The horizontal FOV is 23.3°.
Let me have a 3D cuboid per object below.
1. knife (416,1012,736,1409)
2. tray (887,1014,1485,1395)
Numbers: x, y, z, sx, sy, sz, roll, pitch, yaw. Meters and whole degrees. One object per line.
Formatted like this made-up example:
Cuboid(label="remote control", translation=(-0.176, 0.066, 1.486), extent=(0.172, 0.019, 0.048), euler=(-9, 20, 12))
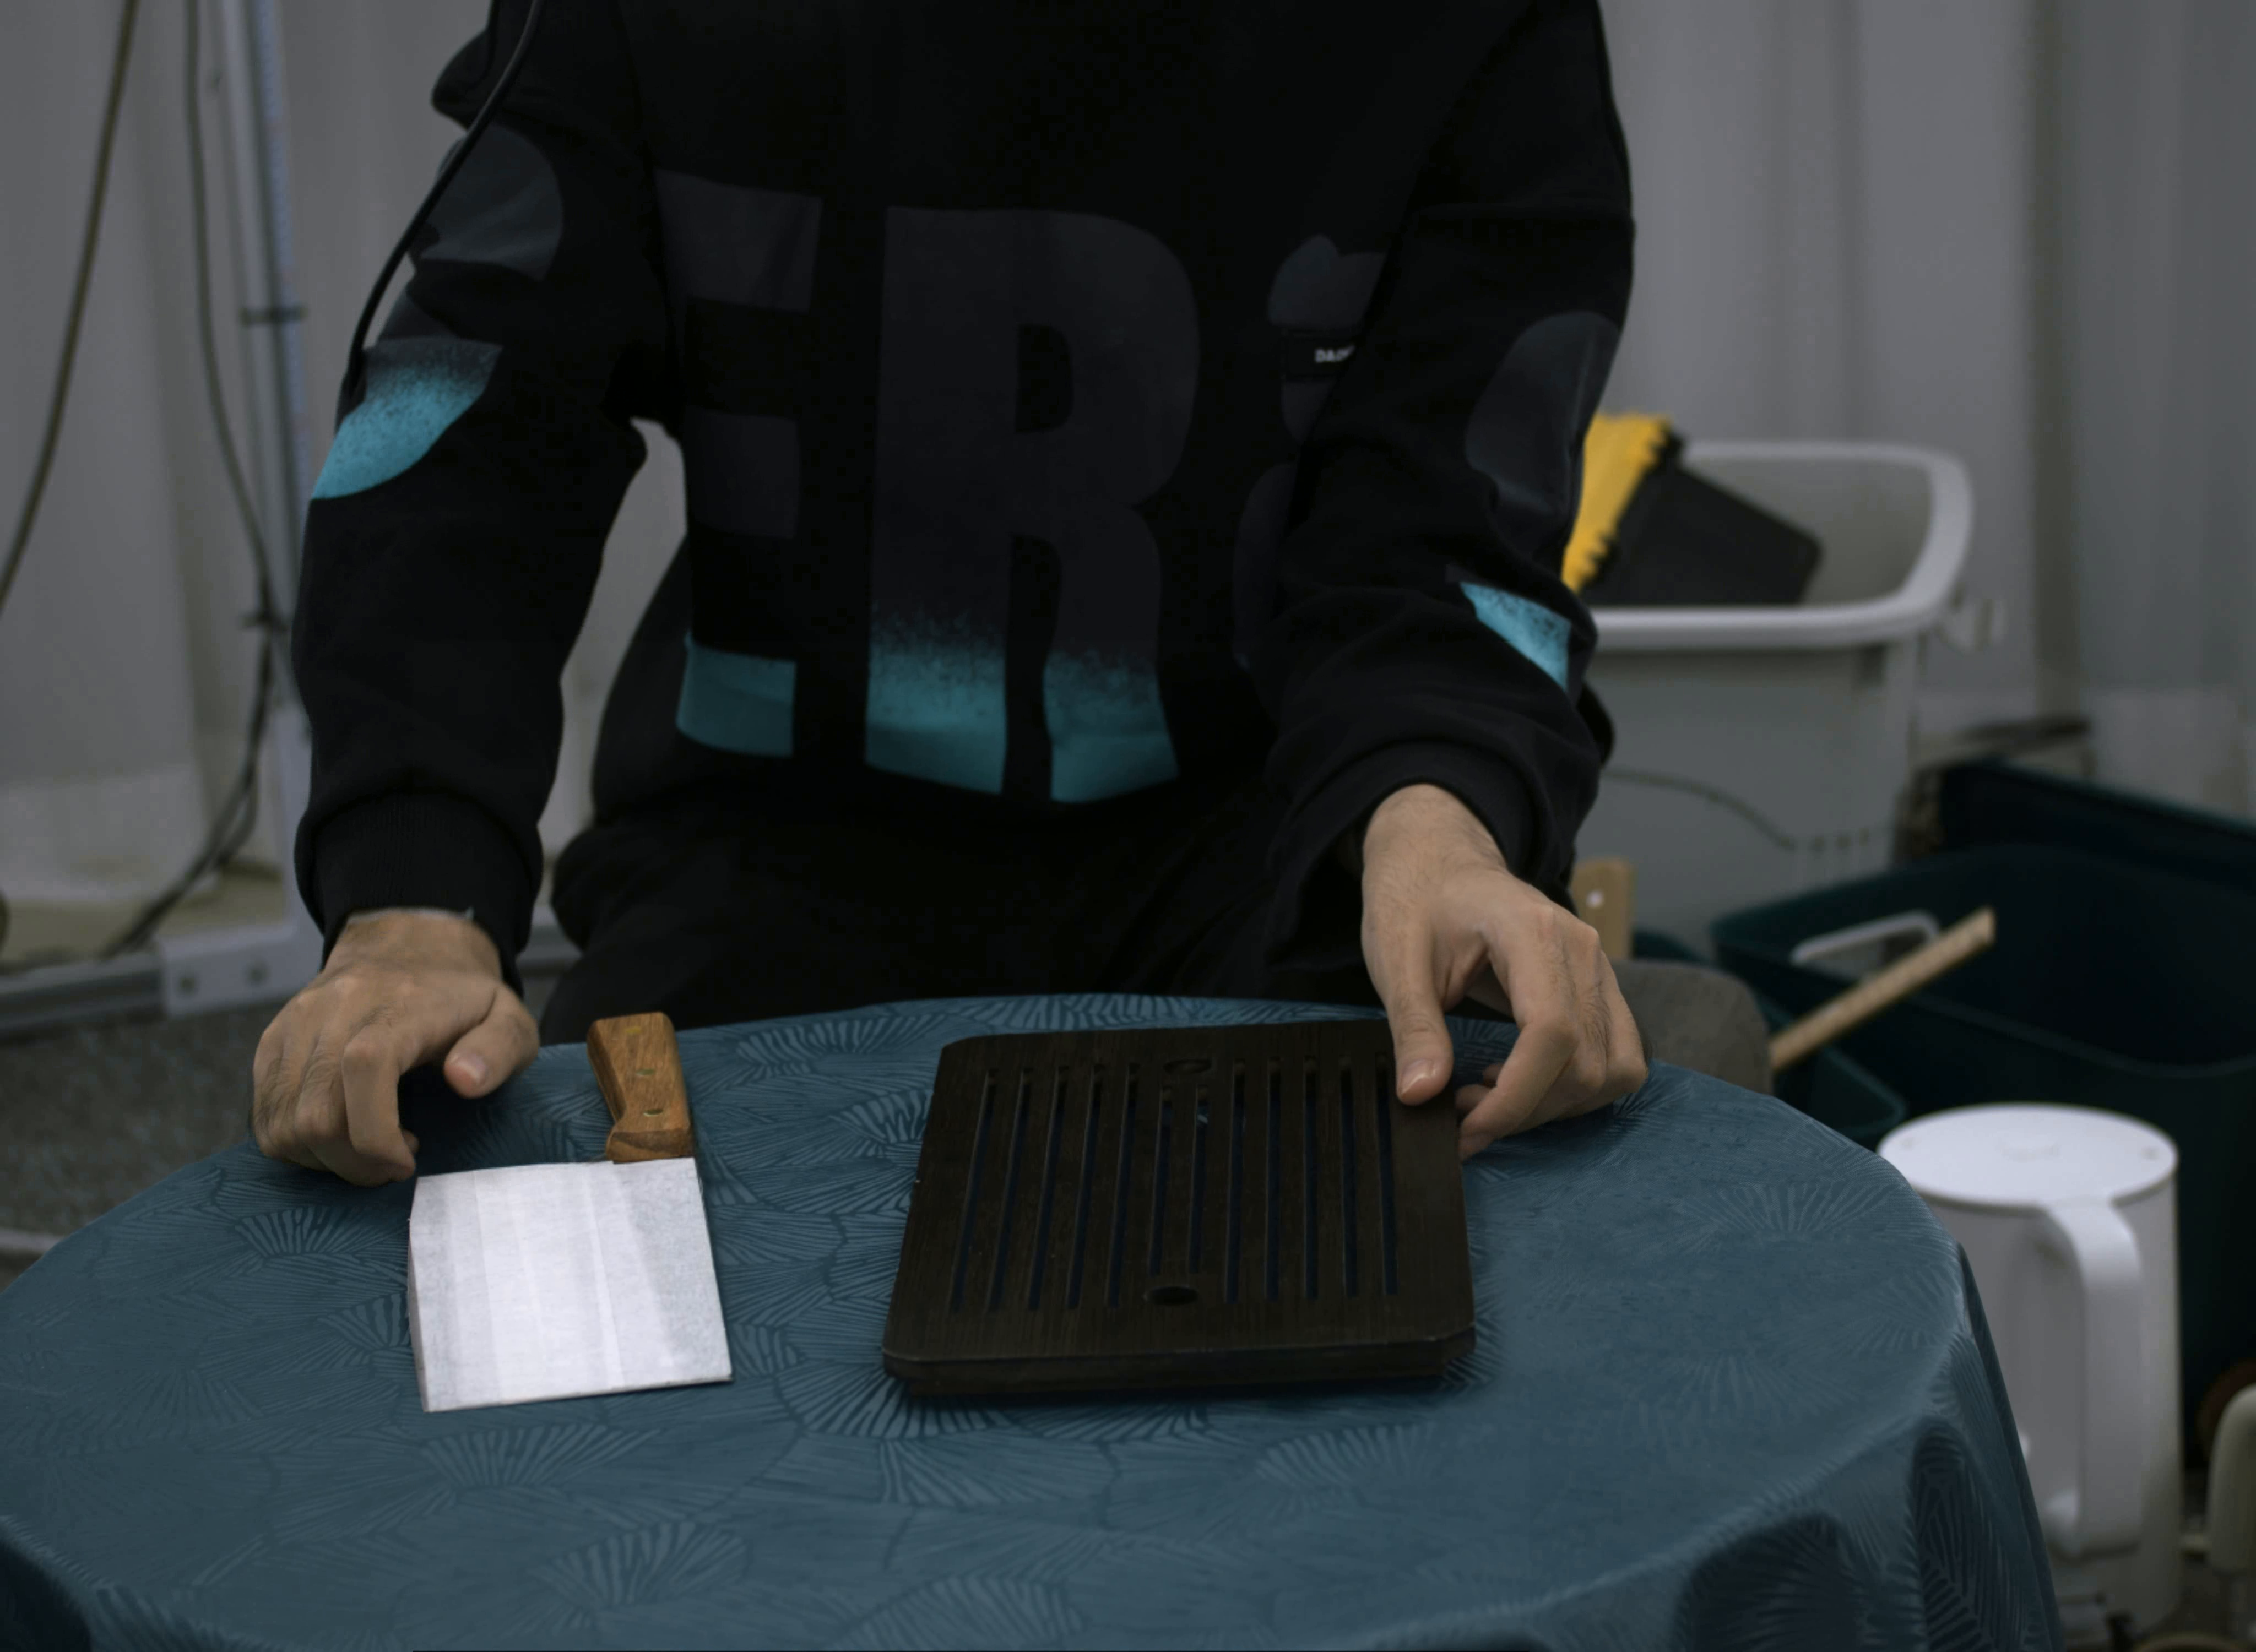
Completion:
Cuboid(label="knife", translation=(-0.176, 0.119, 1.707), extent=(0.092, 0.021, 0.308), euler=(-6, 18, -6))
Cuboid(label="tray", translation=(0.021, 0.114, 1.679), extent=(0.169, 0.018, 0.308), euler=(-3, 15, 3))
